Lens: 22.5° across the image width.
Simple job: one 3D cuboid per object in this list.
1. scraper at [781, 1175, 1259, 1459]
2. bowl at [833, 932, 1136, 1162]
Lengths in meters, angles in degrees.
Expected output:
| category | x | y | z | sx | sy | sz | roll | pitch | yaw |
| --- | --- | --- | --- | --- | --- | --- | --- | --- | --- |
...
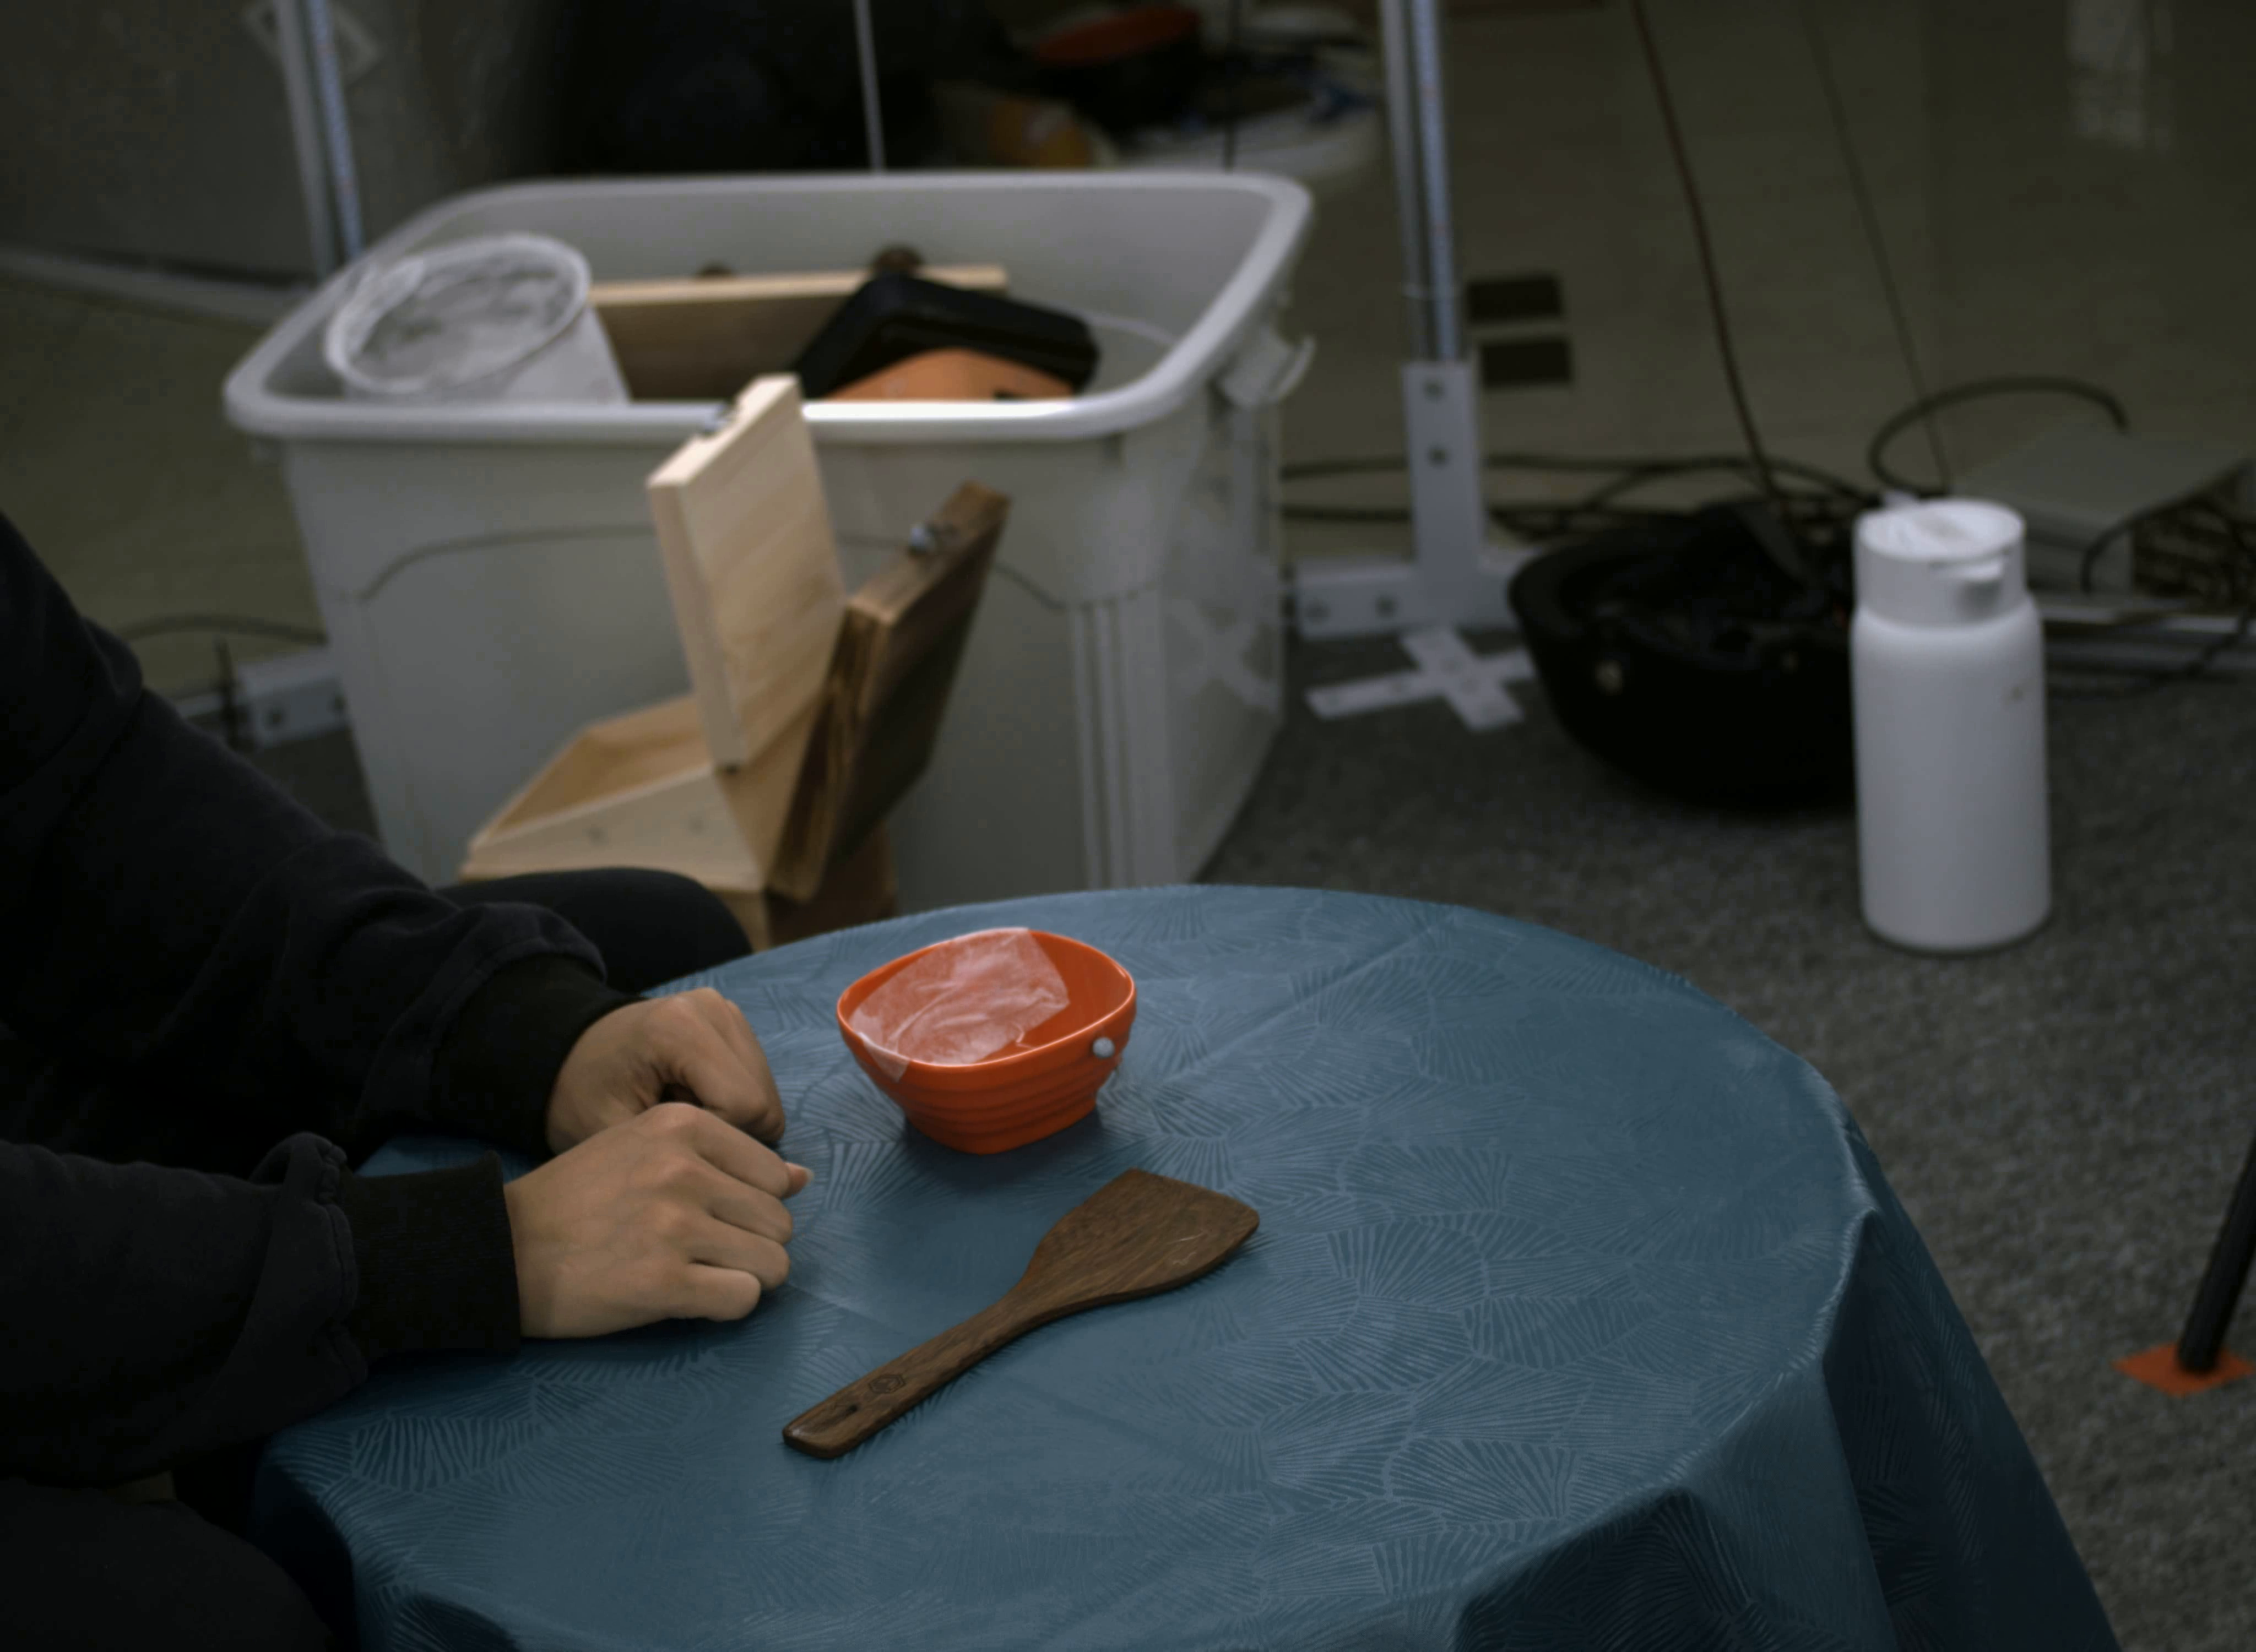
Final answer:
| category | x | y | z | sx | sy | sz | roll | pitch | yaw |
| --- | --- | --- | --- | --- | --- | --- | --- | --- | --- |
| scraper | -0.044 | 0.180 | 2.066 | 0.075 | 0.011 | 0.209 | 17 | 34 | 42 |
| bowl | -0.054 | 0.091 | 2.214 | 0.119 | 0.052 | 0.117 | -5 | 27 | 3 |
